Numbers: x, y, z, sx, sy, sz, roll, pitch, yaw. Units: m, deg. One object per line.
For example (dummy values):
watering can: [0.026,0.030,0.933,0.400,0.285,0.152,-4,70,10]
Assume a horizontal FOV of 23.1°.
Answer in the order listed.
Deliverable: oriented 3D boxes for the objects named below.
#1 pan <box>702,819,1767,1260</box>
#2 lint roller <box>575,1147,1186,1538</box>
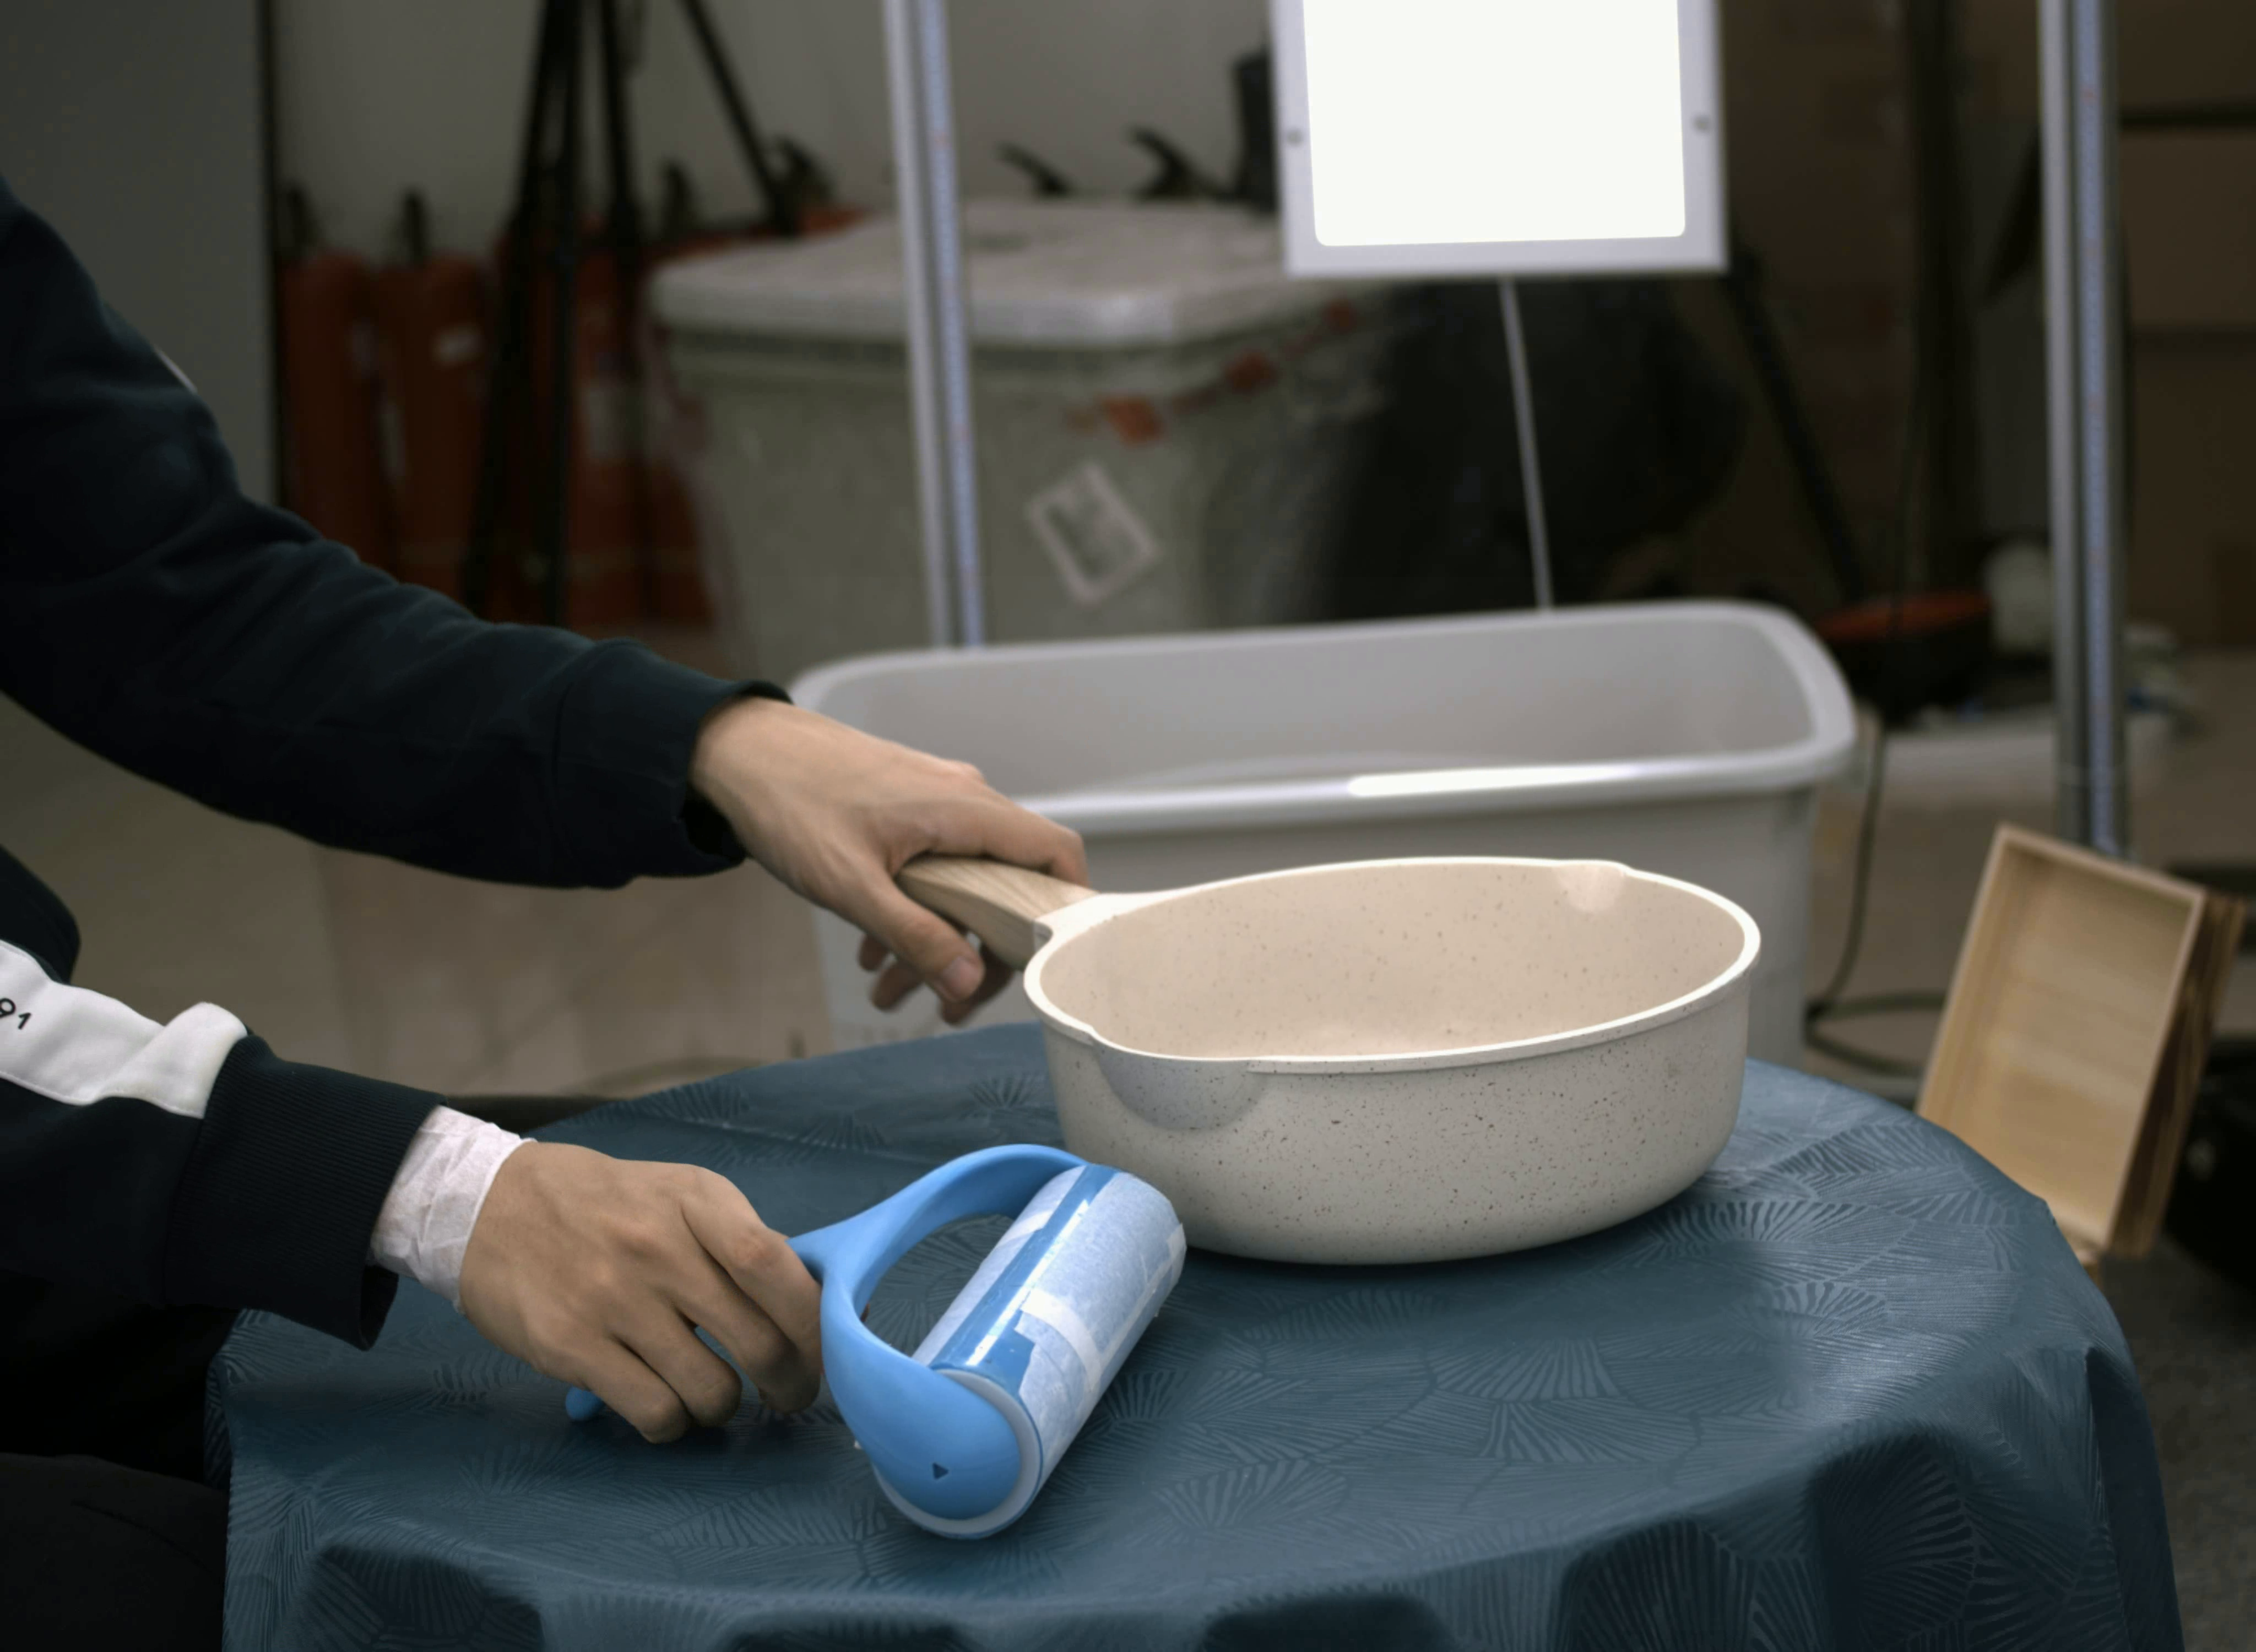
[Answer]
pan: [0.022,0.064,1.931,0.444,0.102,0.257,6,19,39]
lint roller: [-0.085,0.156,1.685,0.181,0.068,0.226,-1,15,11]
